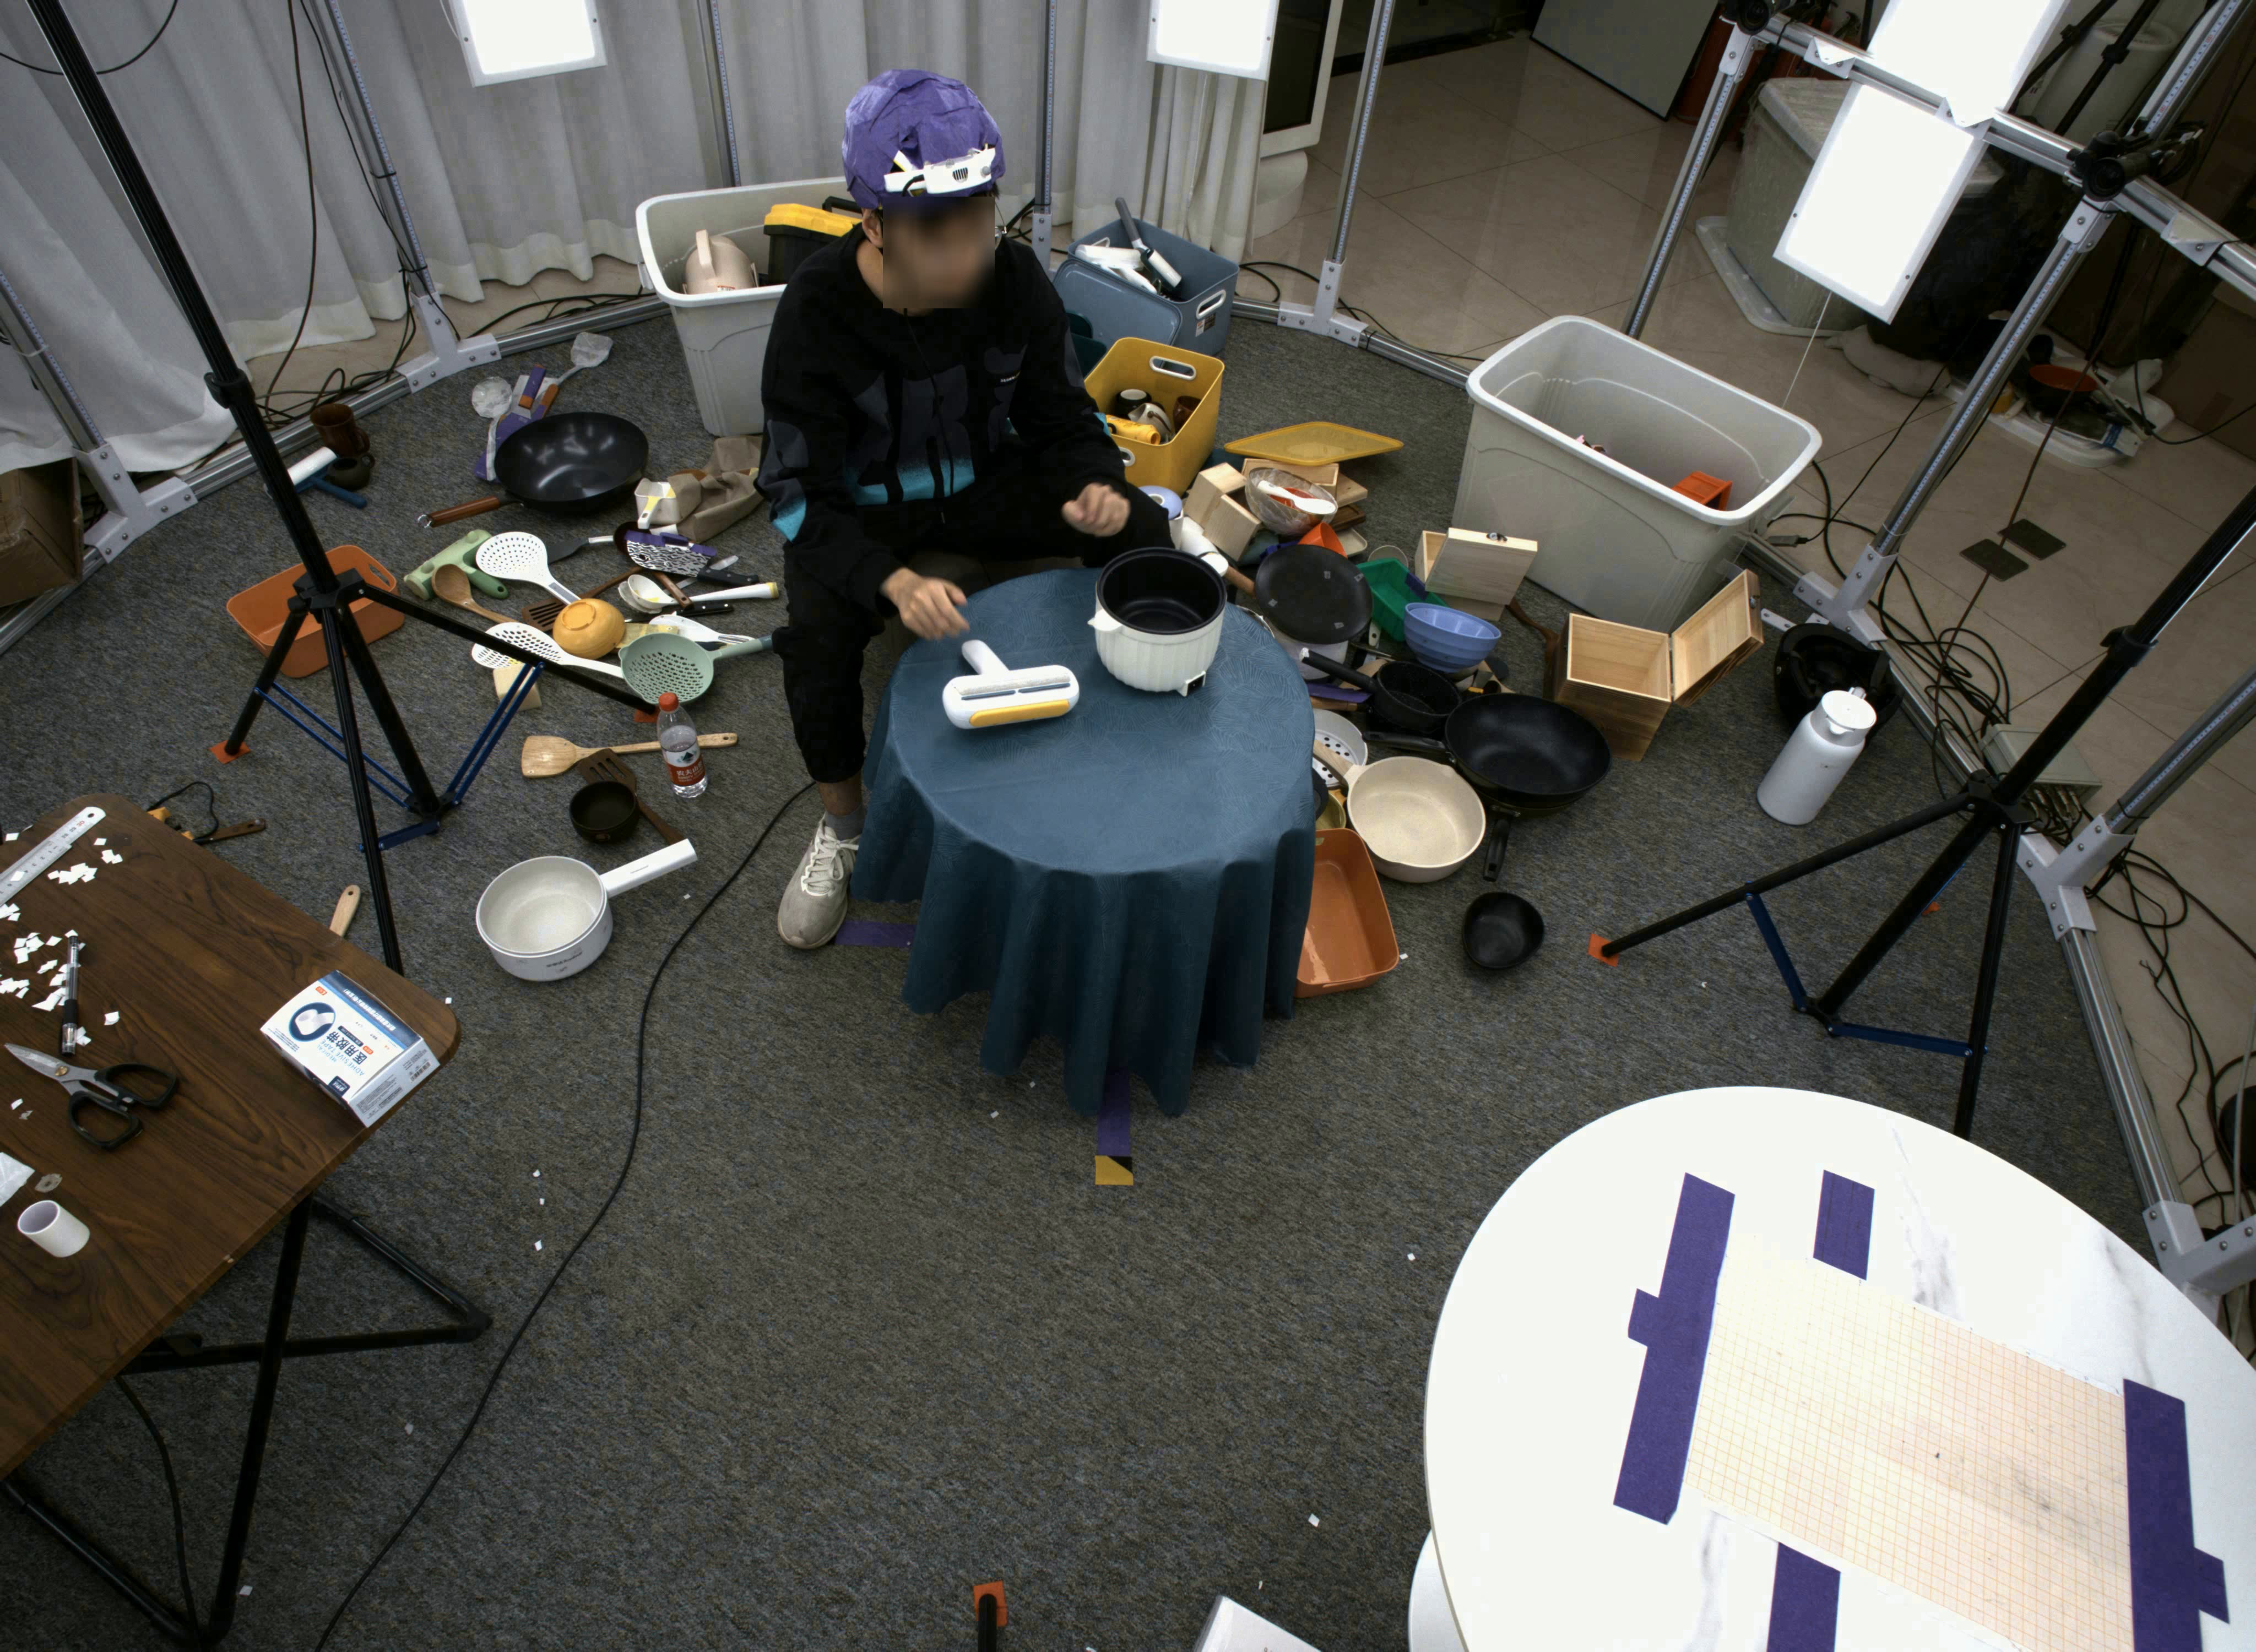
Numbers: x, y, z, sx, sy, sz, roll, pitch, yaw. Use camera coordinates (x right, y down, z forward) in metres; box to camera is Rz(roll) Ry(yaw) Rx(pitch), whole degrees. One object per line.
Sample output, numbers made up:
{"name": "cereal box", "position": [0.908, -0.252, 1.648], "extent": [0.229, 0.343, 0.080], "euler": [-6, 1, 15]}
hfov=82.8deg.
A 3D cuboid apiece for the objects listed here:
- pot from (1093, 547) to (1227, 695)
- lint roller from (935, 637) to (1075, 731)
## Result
{"name": "pot", "position": [0.038, -0.290, 1.832], "extent": [0.242, 0.139, 0.193], "euler": [-32, 61, -28]}
{"name": "lint roller", "position": [-0.187, -0.213, 1.796], "extent": [0.193, 0.072, 0.197], "euler": [-10, 49, -19]}
